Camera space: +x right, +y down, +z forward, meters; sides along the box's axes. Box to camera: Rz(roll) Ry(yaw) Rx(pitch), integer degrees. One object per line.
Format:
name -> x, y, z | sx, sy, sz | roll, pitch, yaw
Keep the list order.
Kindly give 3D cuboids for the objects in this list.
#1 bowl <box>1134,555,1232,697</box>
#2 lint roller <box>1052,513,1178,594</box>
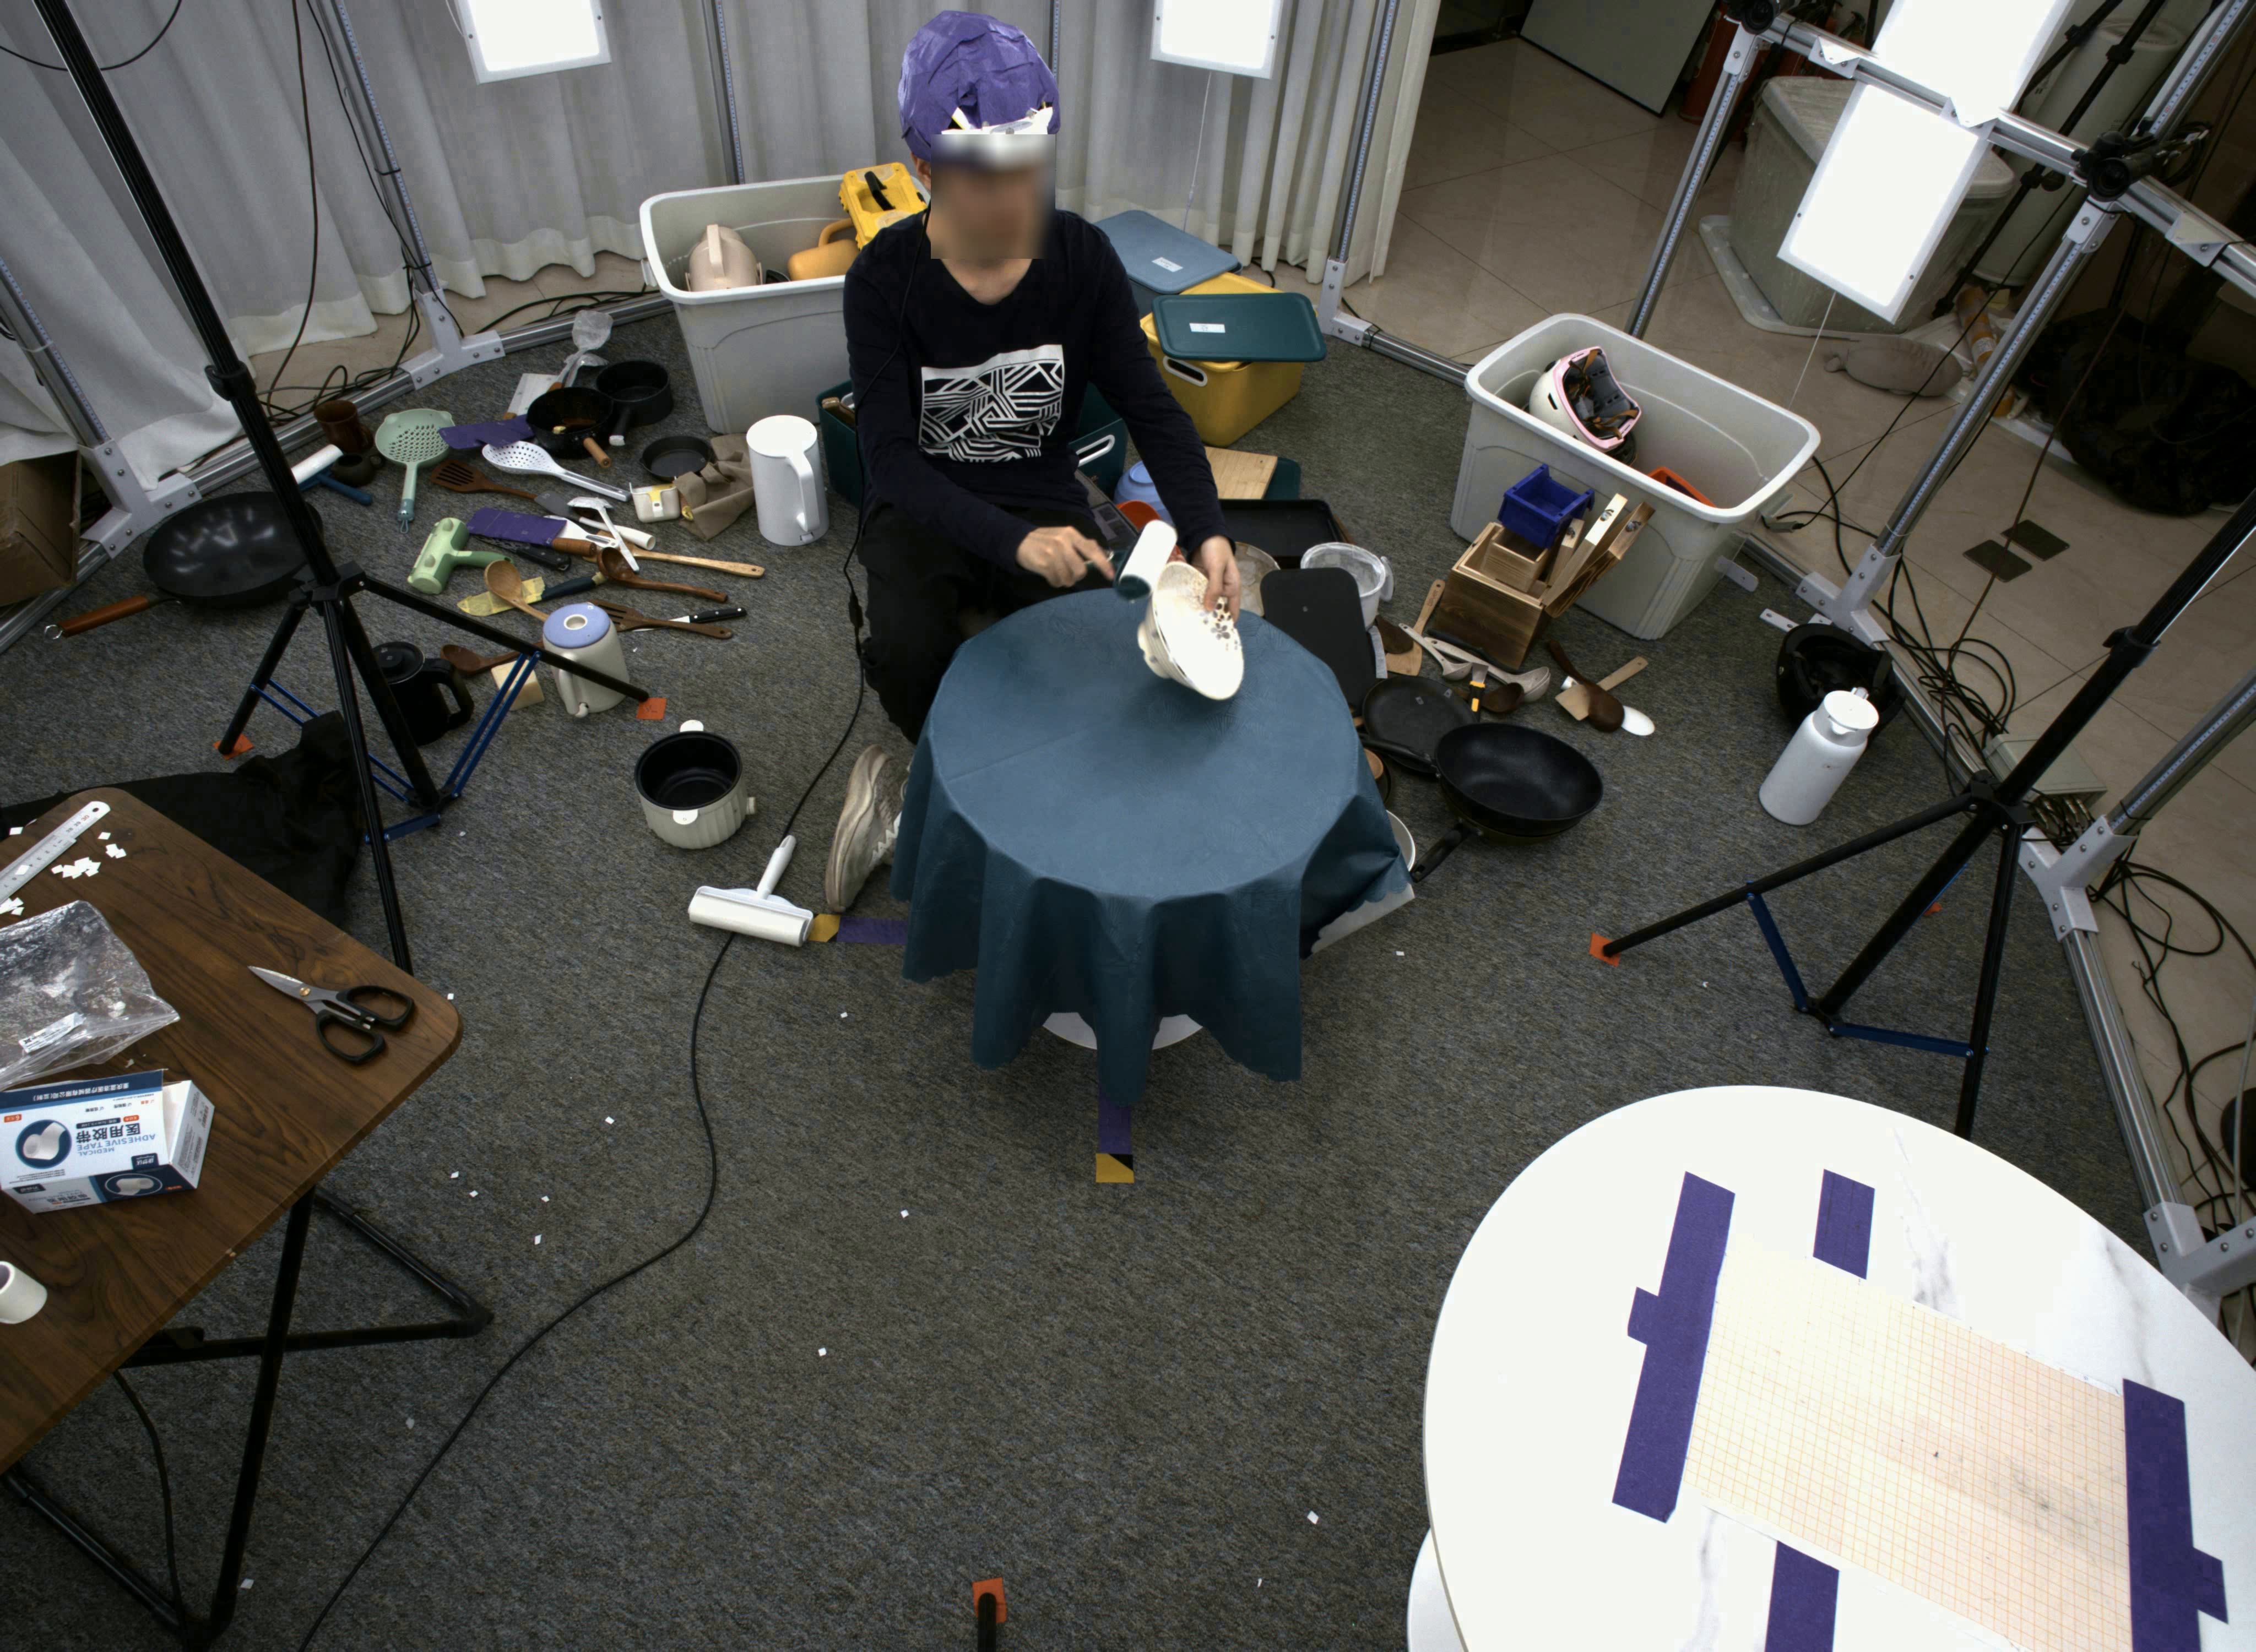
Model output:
bowl -> 0.064, -0.265, 1.780 | 0.077, 0.200, 0.209 | -18, 42, 29
lint roller -> -0.030, -0.369, 1.743 | 0.181, 0.047, 0.137 | 7, 52, 26
